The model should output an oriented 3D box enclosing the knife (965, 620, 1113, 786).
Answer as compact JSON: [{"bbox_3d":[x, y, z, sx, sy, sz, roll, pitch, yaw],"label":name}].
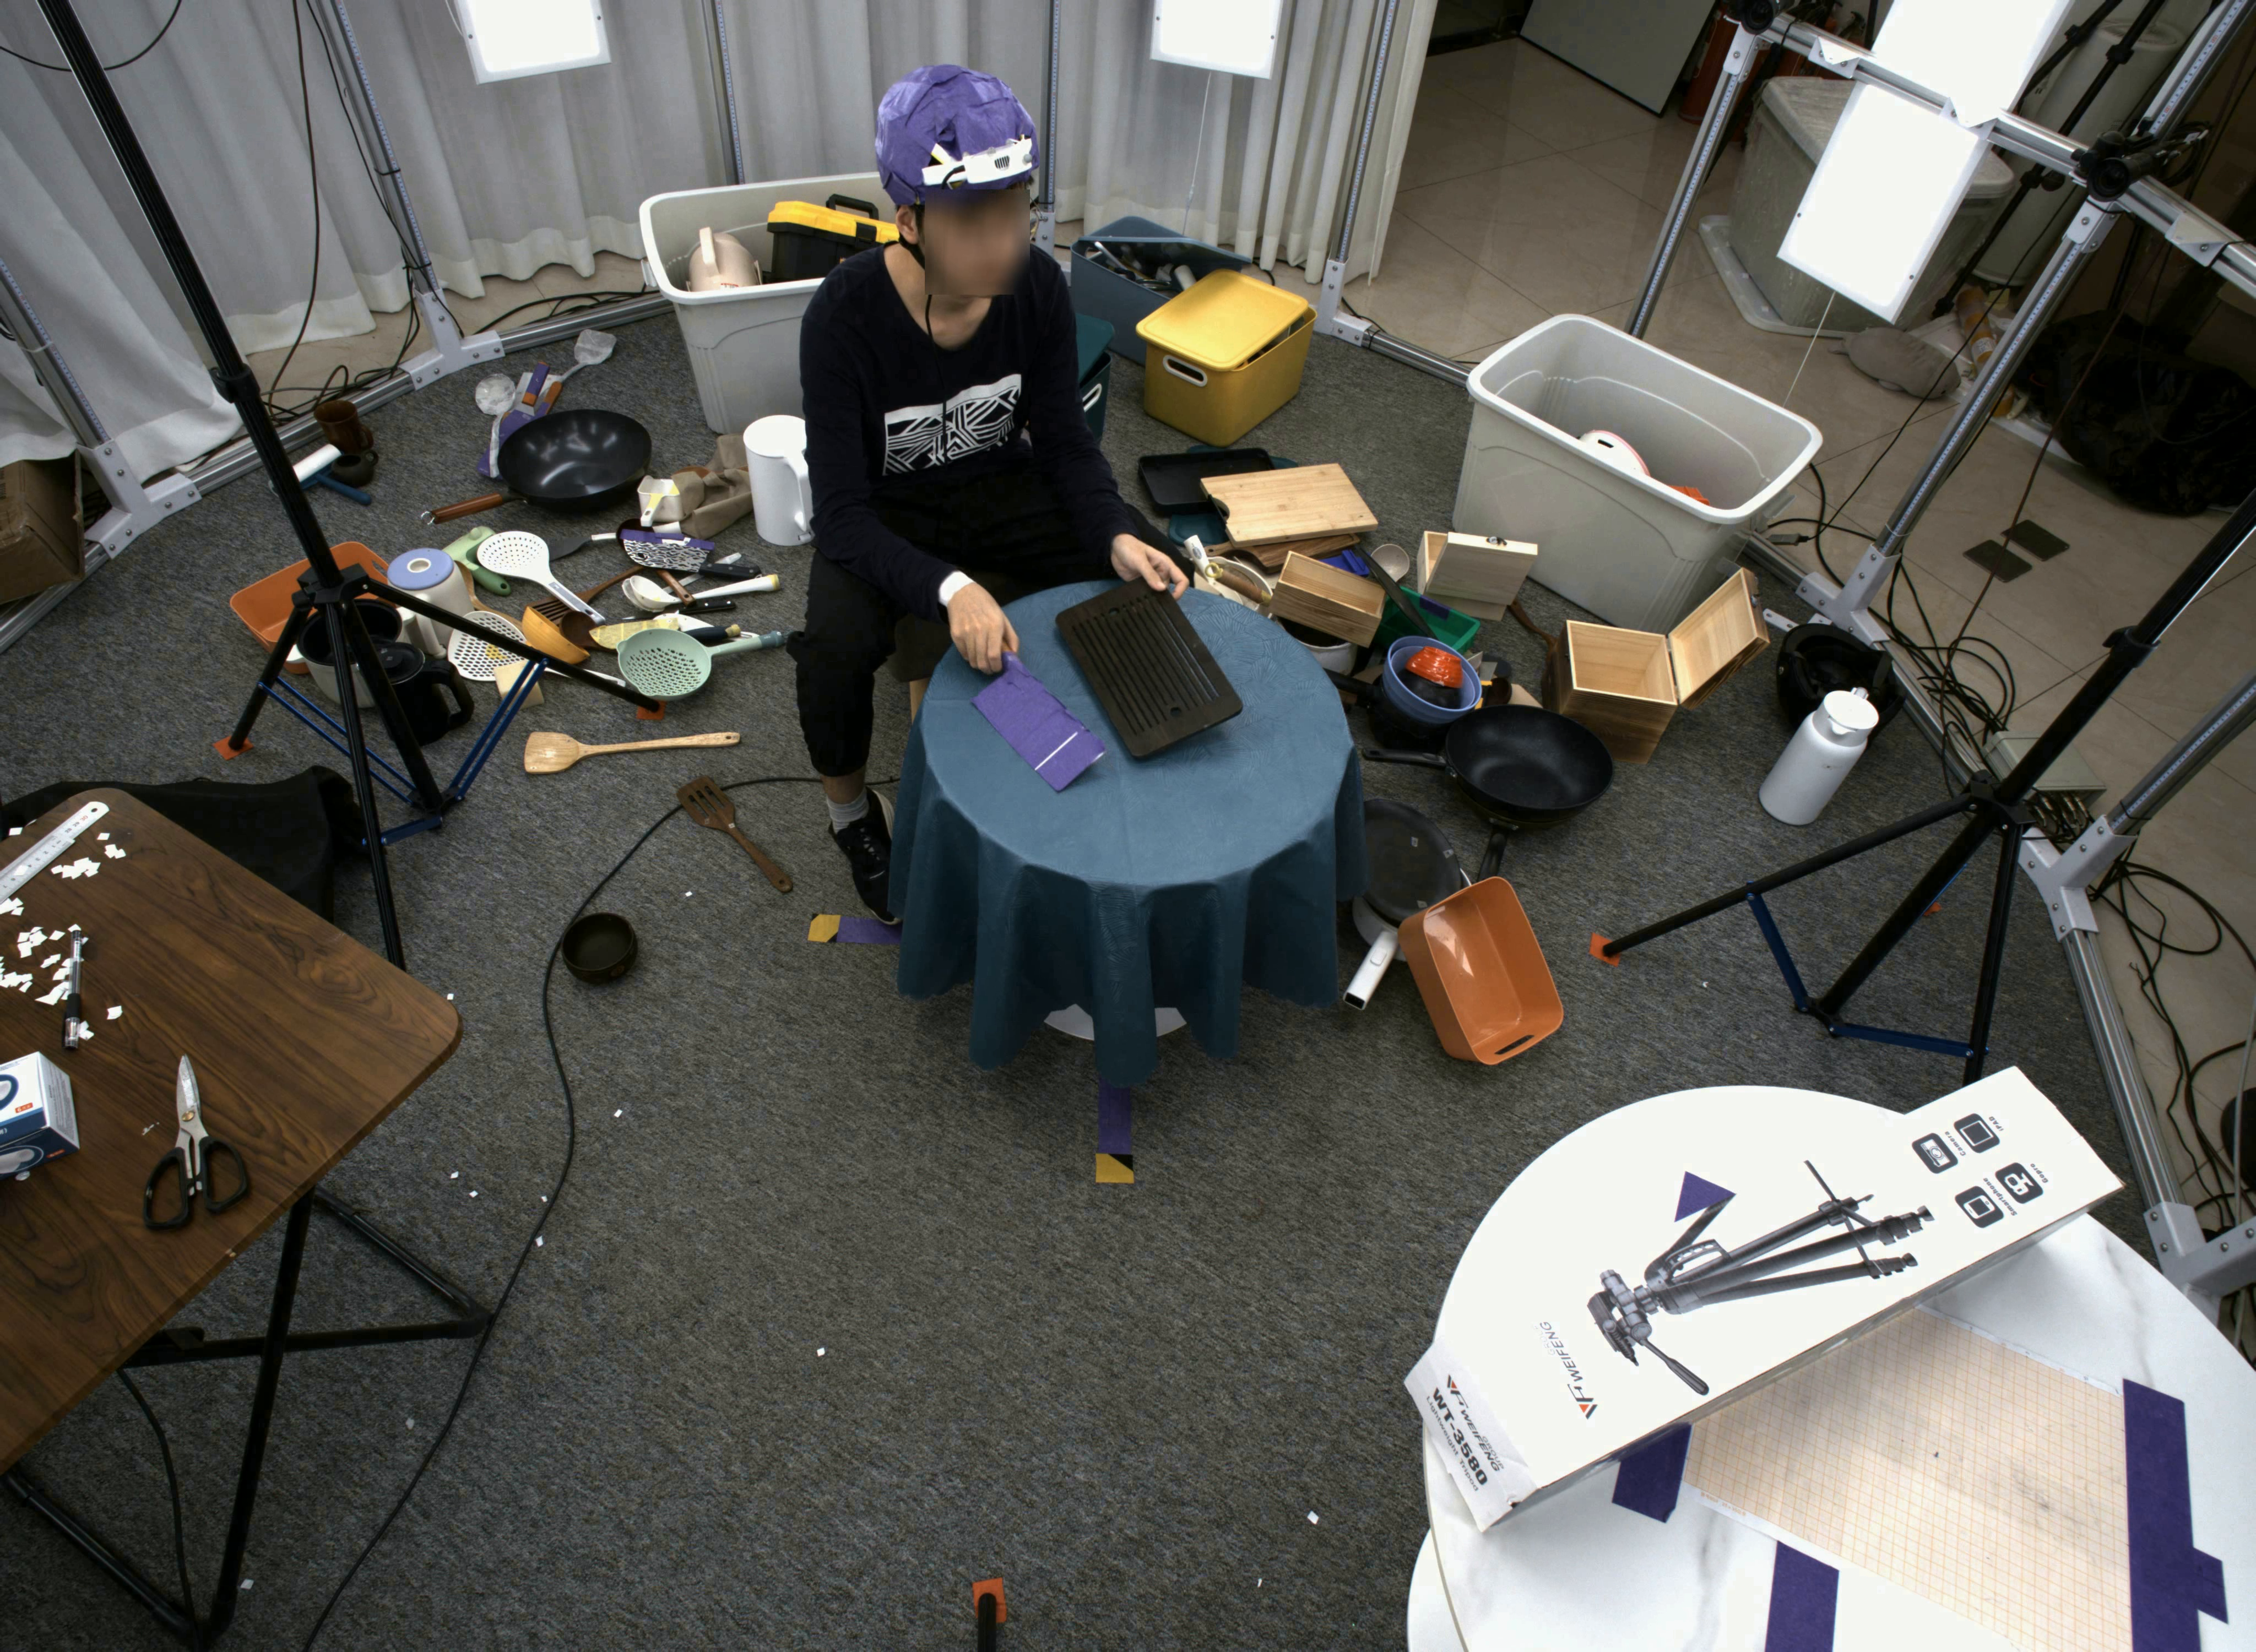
[{"bbox_3d":[-0.153,-0.173,1.779,0.104,0.031,0.321,-38,57,-10],"label":"knife"}]

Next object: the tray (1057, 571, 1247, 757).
[{"bbox_3d":[0.030,-0.235,1.833,0.170,0.018,0.313,-26,54,-5],"label":"tray"}]
